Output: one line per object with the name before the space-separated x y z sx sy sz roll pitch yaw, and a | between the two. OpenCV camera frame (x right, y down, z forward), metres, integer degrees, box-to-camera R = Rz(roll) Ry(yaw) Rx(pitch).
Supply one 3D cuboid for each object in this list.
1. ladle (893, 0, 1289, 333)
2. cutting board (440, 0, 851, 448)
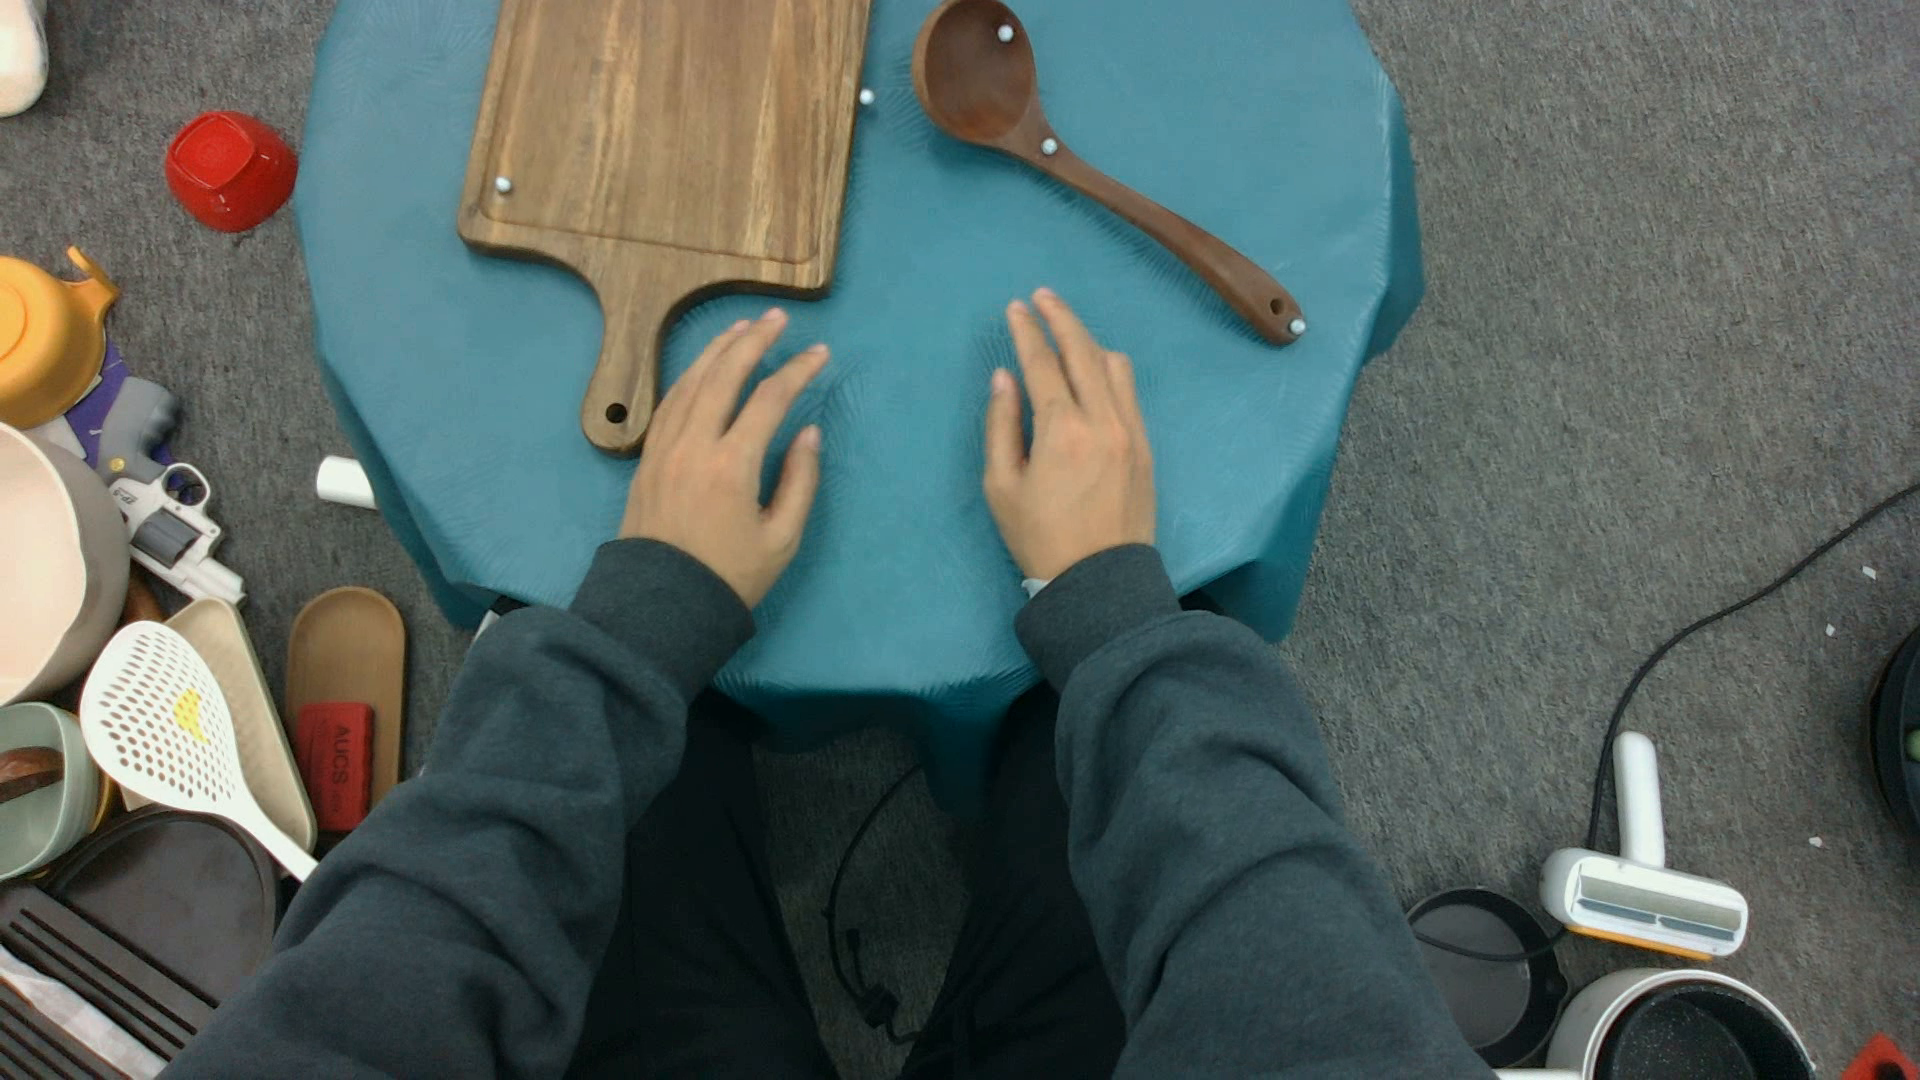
ladle | 0.075 -0.200 0.735 0.260 0.065 0.076 38 82 3
cutting board | -0.168 -0.221 0.740 0.201 0.023 0.353 6 77 -2
